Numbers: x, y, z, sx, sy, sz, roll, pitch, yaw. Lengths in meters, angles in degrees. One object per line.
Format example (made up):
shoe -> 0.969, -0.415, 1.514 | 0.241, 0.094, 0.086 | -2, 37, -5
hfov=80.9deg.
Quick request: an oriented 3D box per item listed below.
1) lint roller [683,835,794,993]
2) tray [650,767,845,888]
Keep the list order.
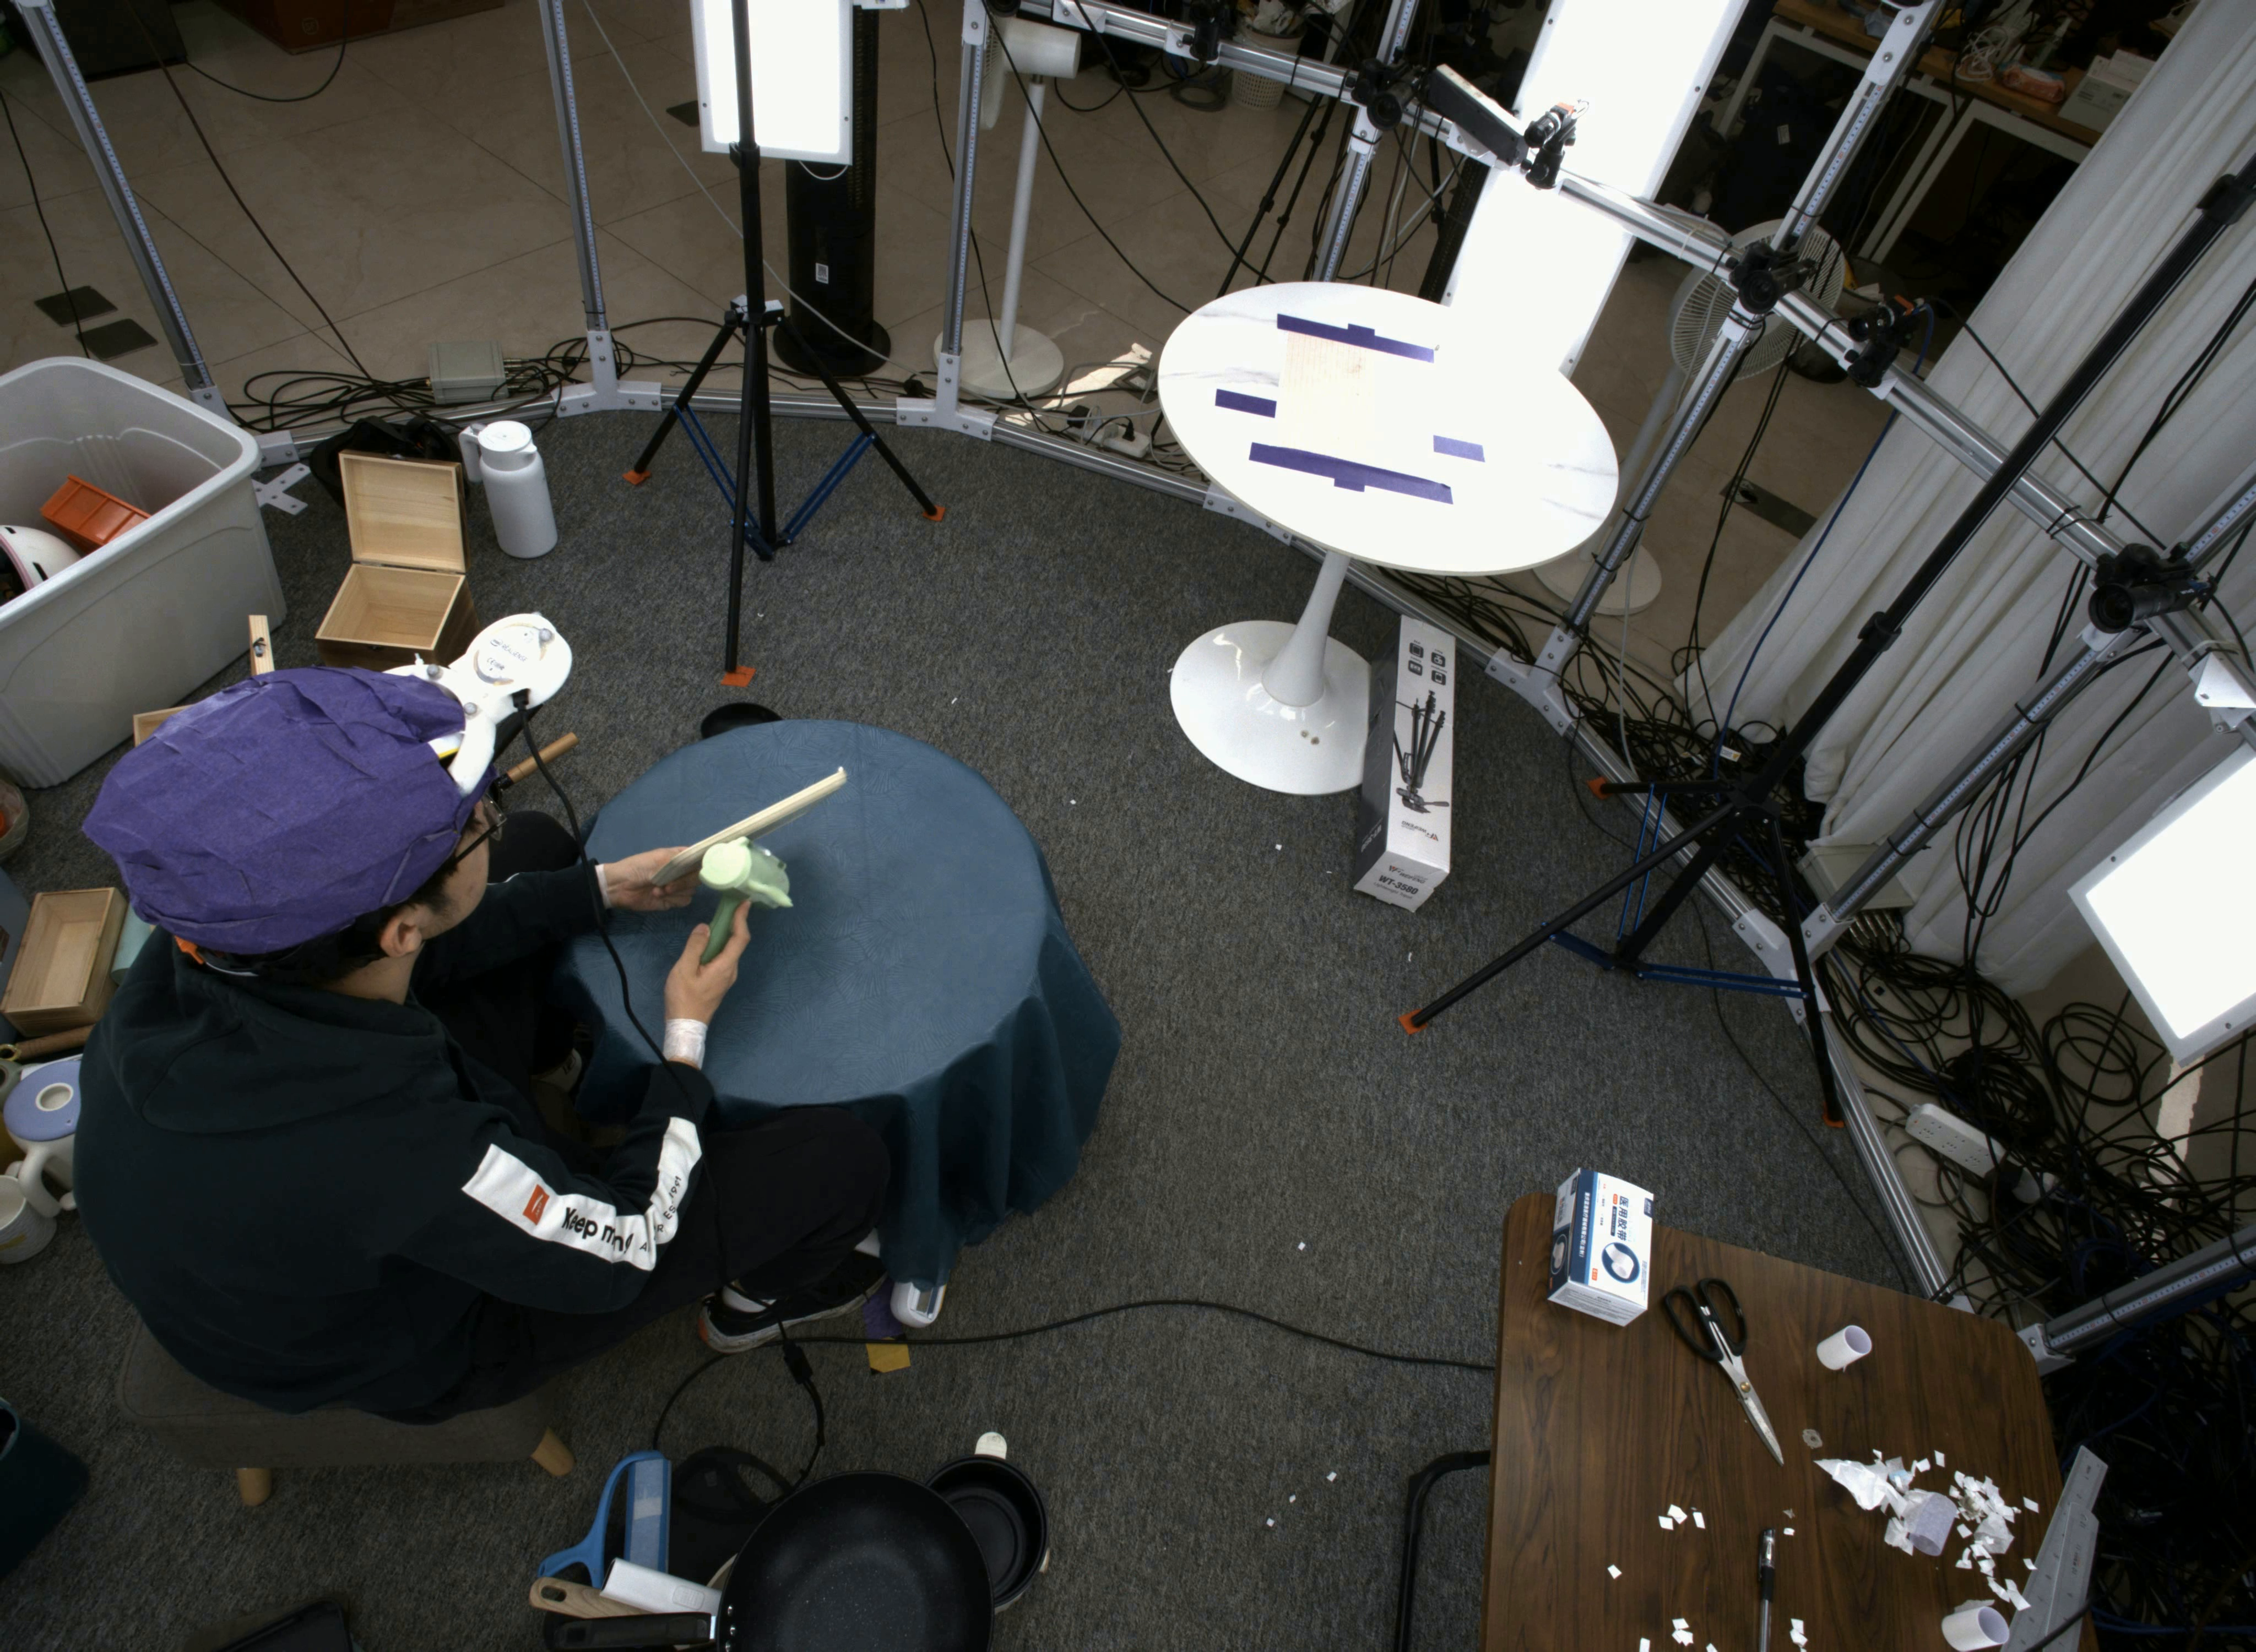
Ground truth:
lint roller -> -0.455, 0.112, 1.508 | 0.081, 0.200, 0.184 | 16, 81, 2
tray -> -0.454, 0.002, 1.553 | 0.240, 0.169, 0.017 | -32, 93, -35
